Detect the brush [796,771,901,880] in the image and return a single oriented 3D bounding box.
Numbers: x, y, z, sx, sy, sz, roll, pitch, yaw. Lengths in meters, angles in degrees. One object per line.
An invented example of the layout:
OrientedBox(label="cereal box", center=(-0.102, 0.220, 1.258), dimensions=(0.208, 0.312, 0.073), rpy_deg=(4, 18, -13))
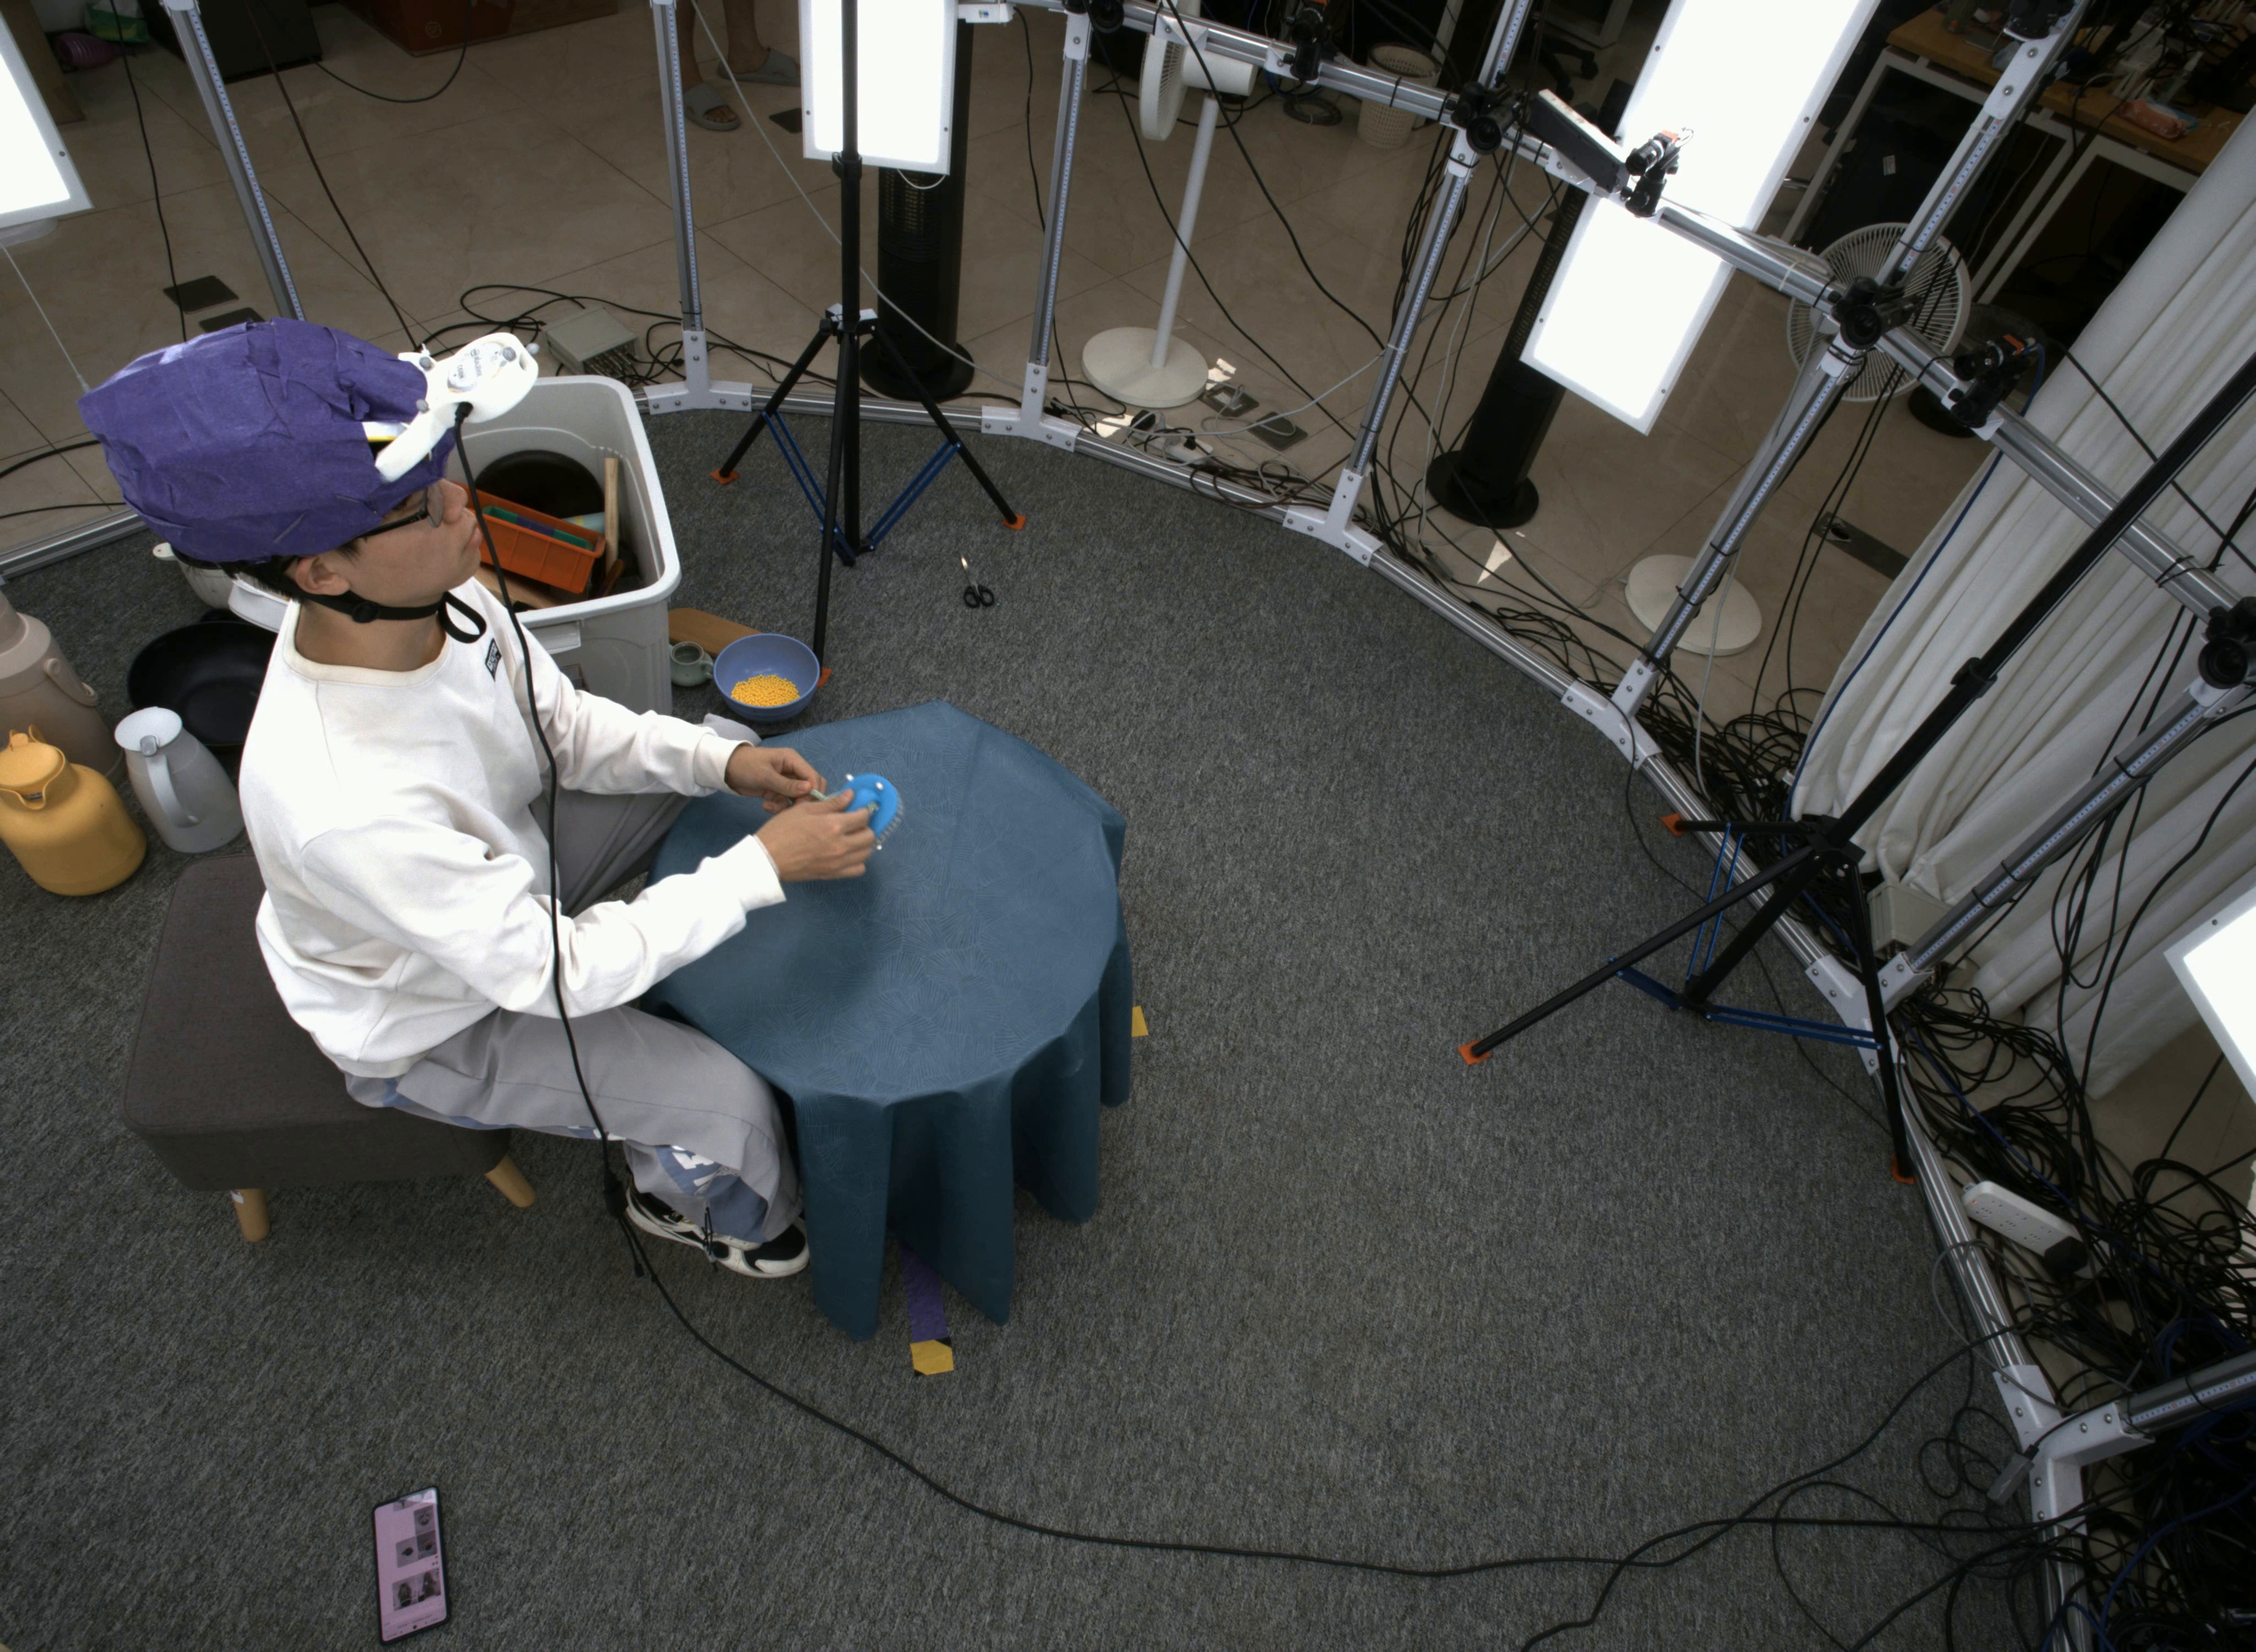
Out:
OrientedBox(label="brush", center=(-0.333, -0.002, 1.549), dimensions=(0.084, 0.064, 0.142), rpy_deg=(42, 82, 3))

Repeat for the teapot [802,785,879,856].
OrientedBox(label="teapot", center=(-0.366, -0.008, 1.651), dimensions=(0.127, 0.062, 0.091), rpy_deg=(38, 63, 7))
